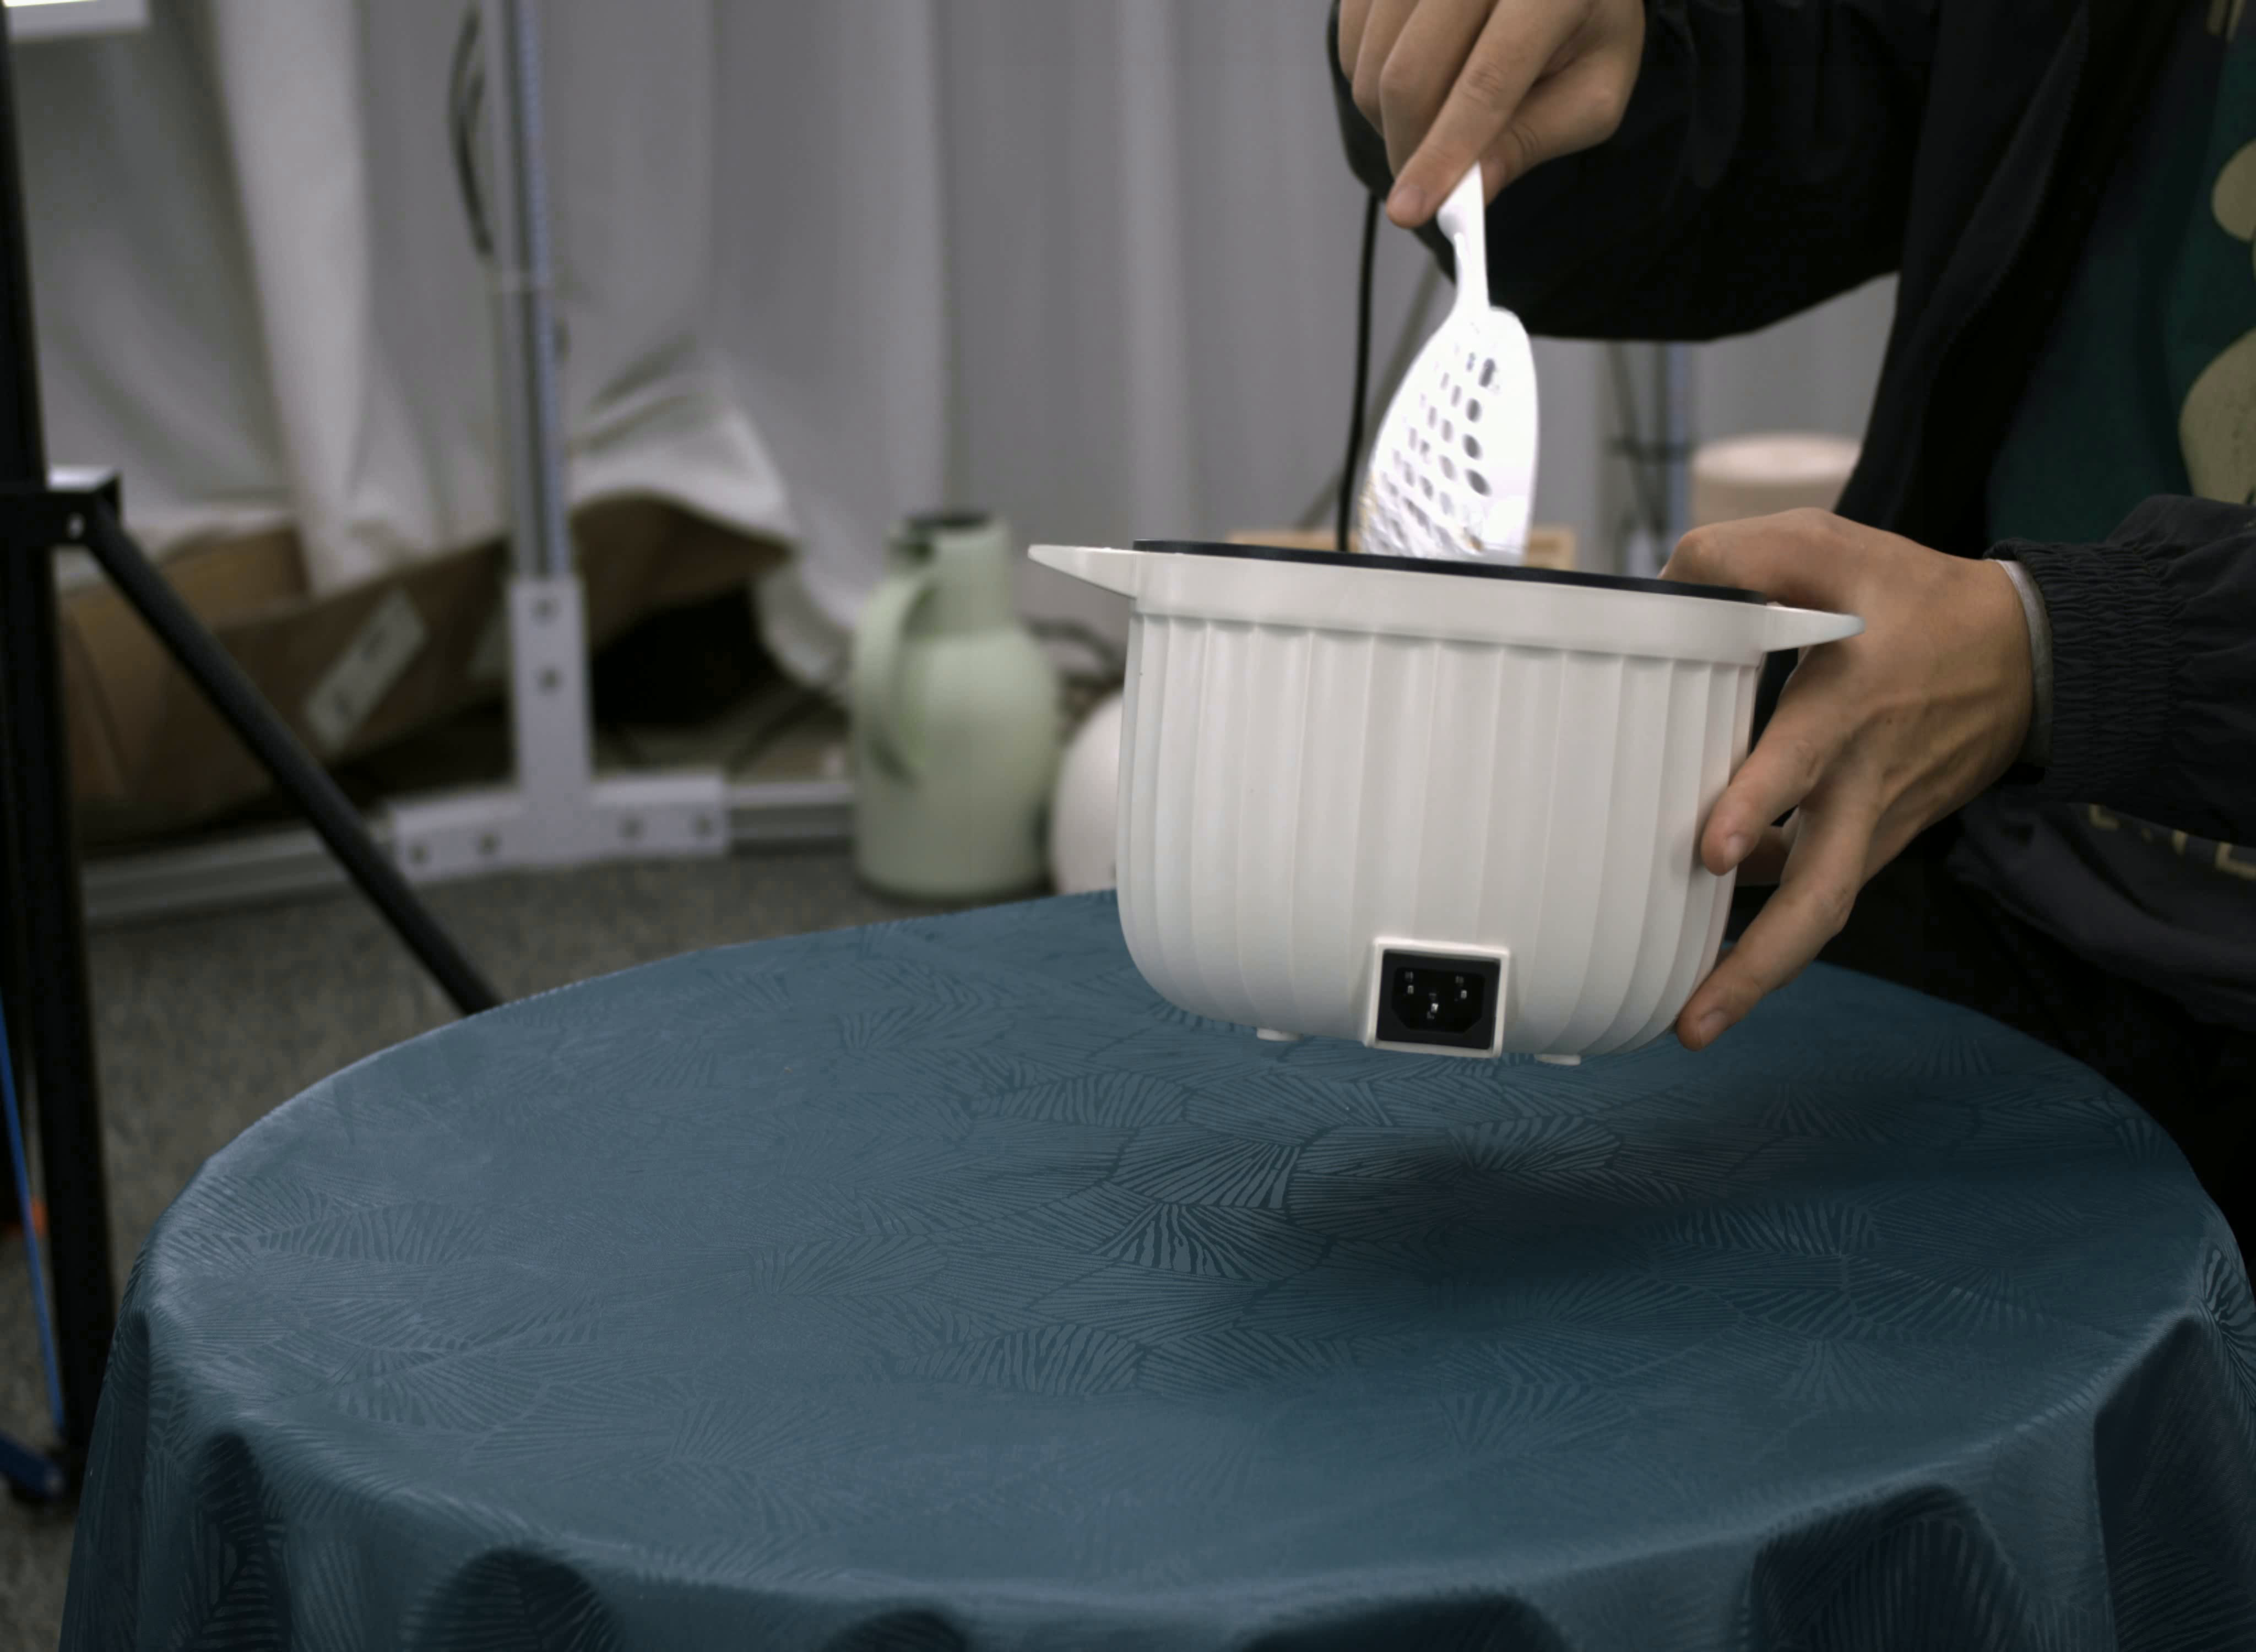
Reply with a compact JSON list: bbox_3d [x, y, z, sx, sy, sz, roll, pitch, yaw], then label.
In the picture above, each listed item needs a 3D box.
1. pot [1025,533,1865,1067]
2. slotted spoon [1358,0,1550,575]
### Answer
[{"bbox_3d":[0.083,-0.009,1.513,0.239,0.143,0.191,6,5,-1],"label":"pot"},{"bbox_3d":[0.092,-0.154,1.582,0.050,0.136,0.350,6,41,-1],"label":"slotted spoon"}]
